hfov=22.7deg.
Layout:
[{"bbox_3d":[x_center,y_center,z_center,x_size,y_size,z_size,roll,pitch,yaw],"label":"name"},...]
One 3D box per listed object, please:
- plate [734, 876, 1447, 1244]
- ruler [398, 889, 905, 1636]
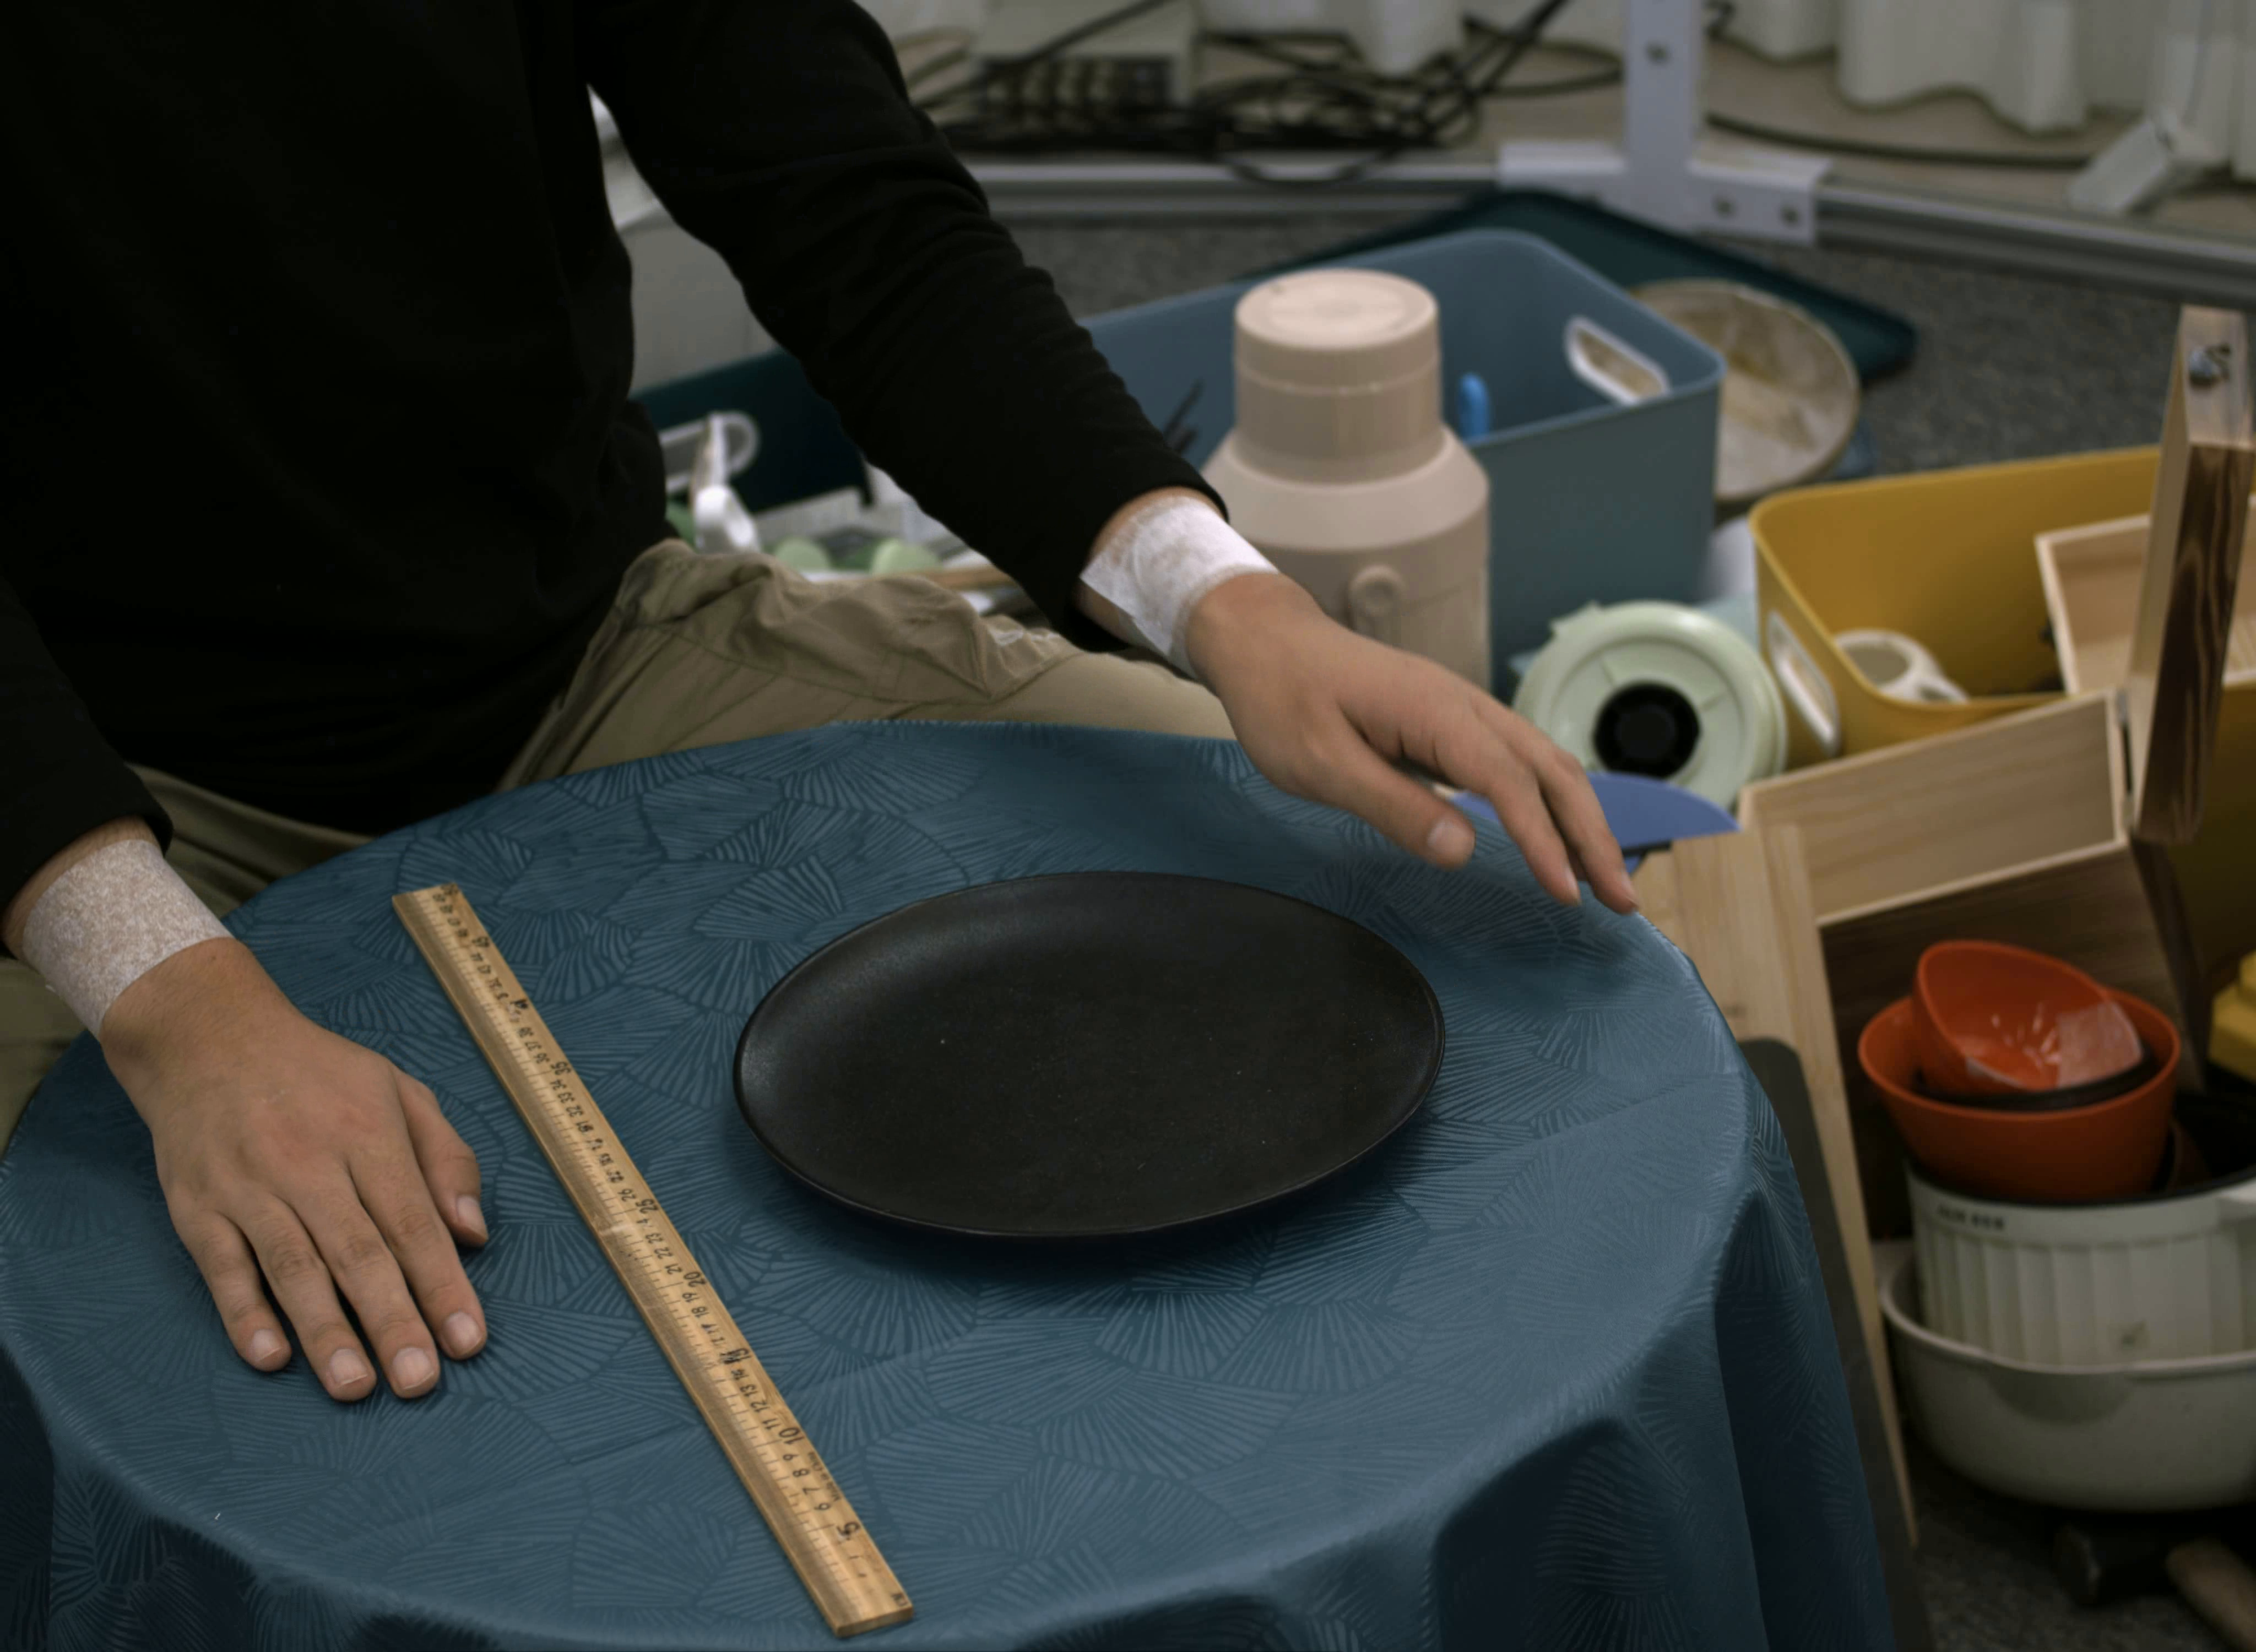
[{"bbox_3d":[-0.012,0.083,1.911,0.243,0.023,0.248,-2,27,2],"label":"plate"},{"bbox_3d":[-0.166,0.130,1.855,0.027,0.006,0.504,-11,28,-18],"label":"ruler"}]
